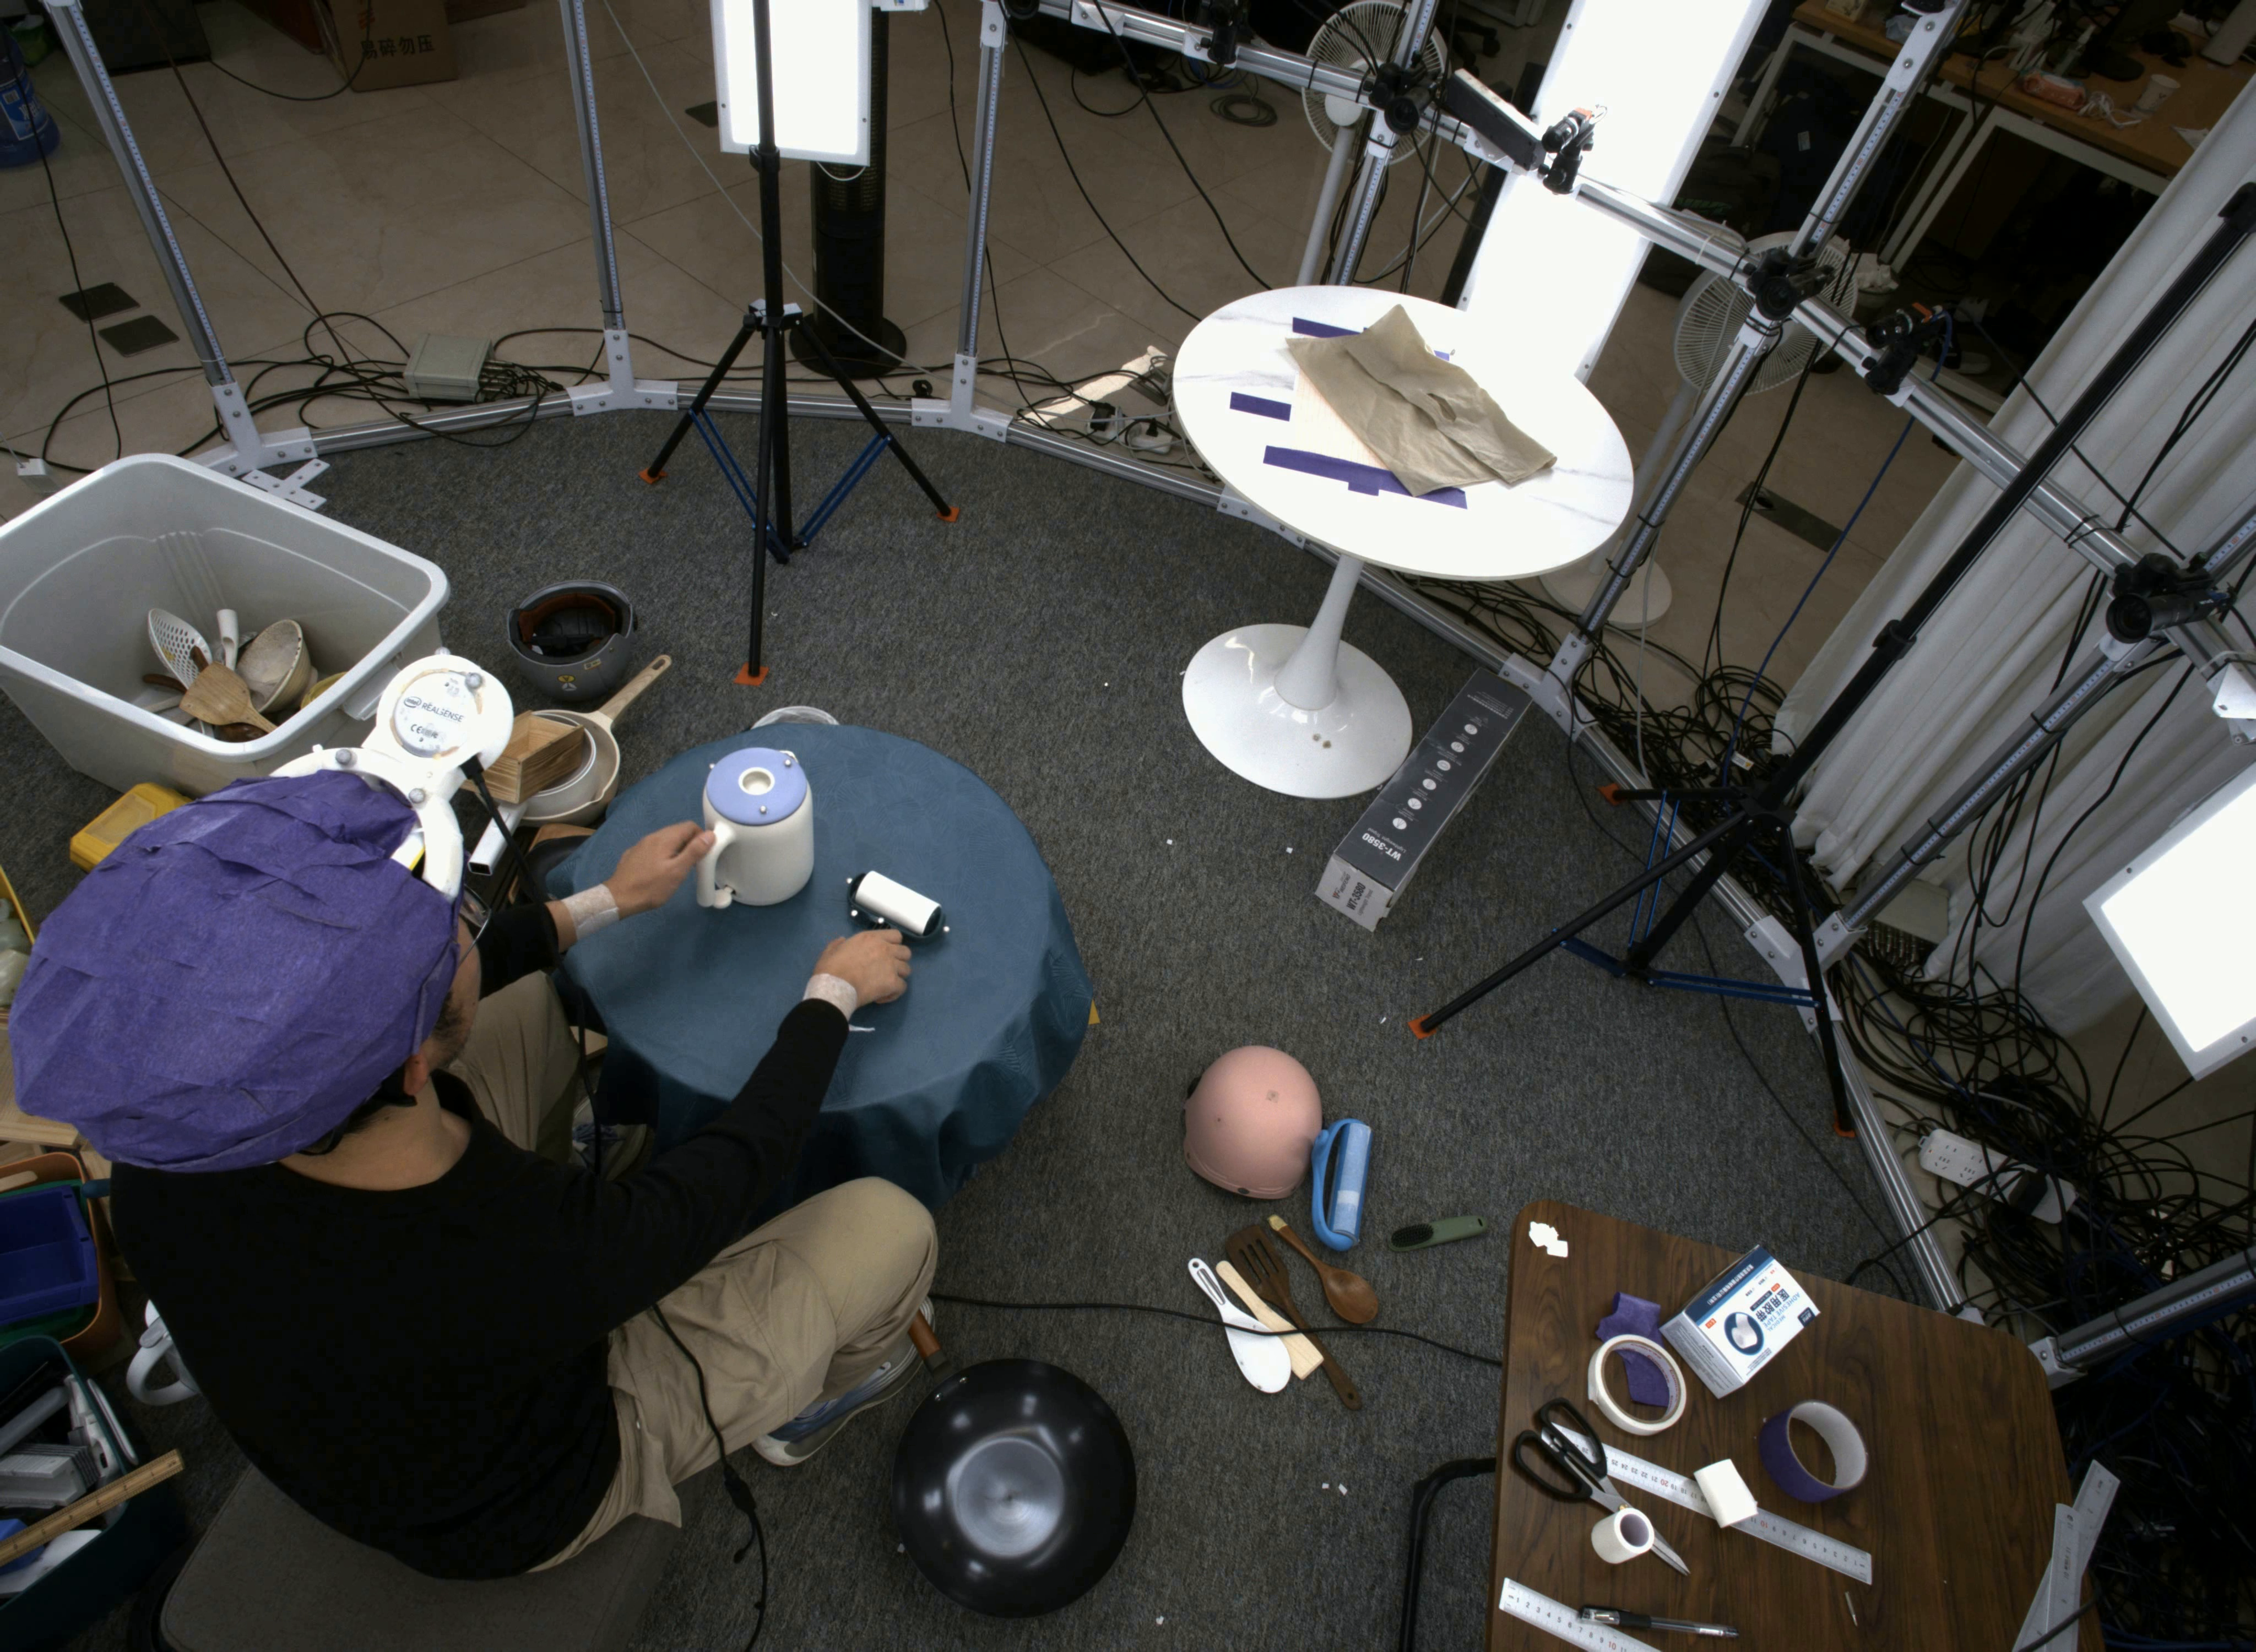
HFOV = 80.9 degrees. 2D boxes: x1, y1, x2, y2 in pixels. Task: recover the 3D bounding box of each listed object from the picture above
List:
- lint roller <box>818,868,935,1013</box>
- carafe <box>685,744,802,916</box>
[{"bbox_3d":[-0.333,0.146,1.607,0.132,0.049,0.179,25,55,5],"label":"lint roller"},{"bbox_3d":[-0.482,0.017,1.579,0.130,0.186,0.190,24,53,7],"label":"carafe"}]
